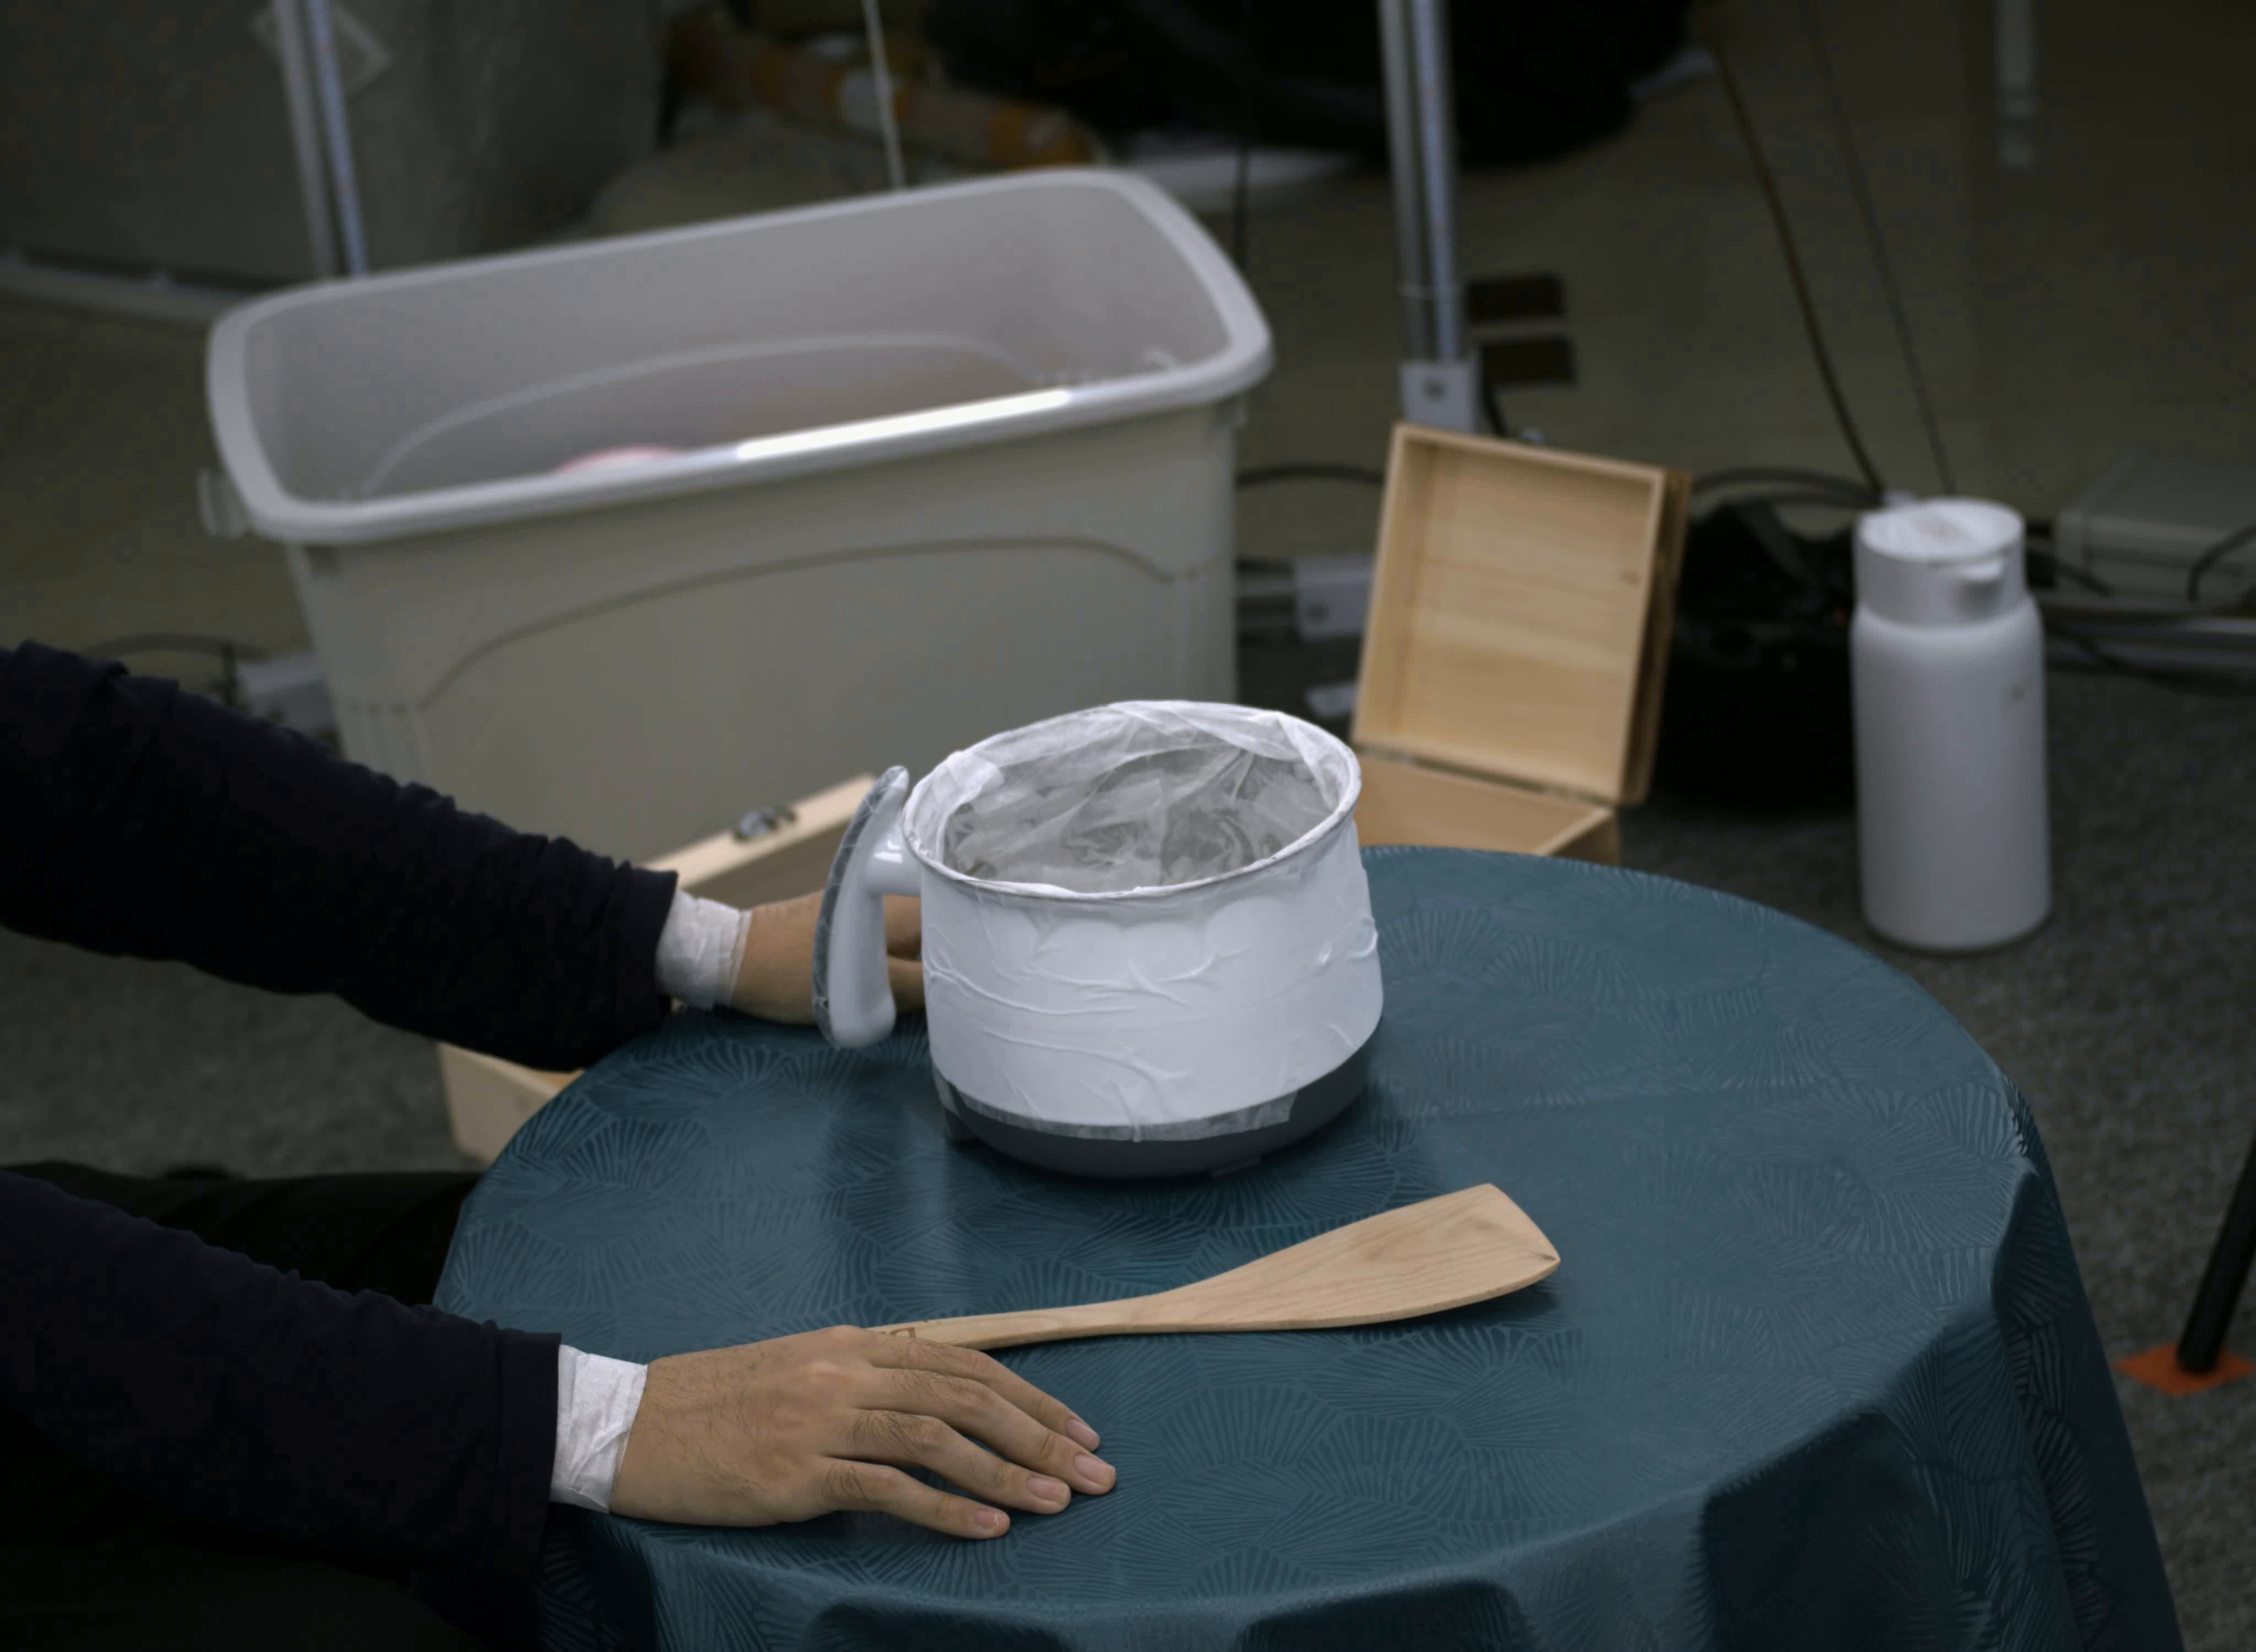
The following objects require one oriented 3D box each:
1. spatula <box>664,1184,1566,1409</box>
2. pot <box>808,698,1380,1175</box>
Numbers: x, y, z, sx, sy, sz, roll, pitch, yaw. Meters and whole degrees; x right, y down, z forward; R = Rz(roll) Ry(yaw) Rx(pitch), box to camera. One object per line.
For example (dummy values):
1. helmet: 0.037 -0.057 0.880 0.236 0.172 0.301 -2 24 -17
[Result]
1. spatula: -0.007 0.174 2.058 0.327 0.017 0.079 -9 24 -3
2. pot: -0.018 0.042 2.194 0.233 0.139 0.176 5 27 21
